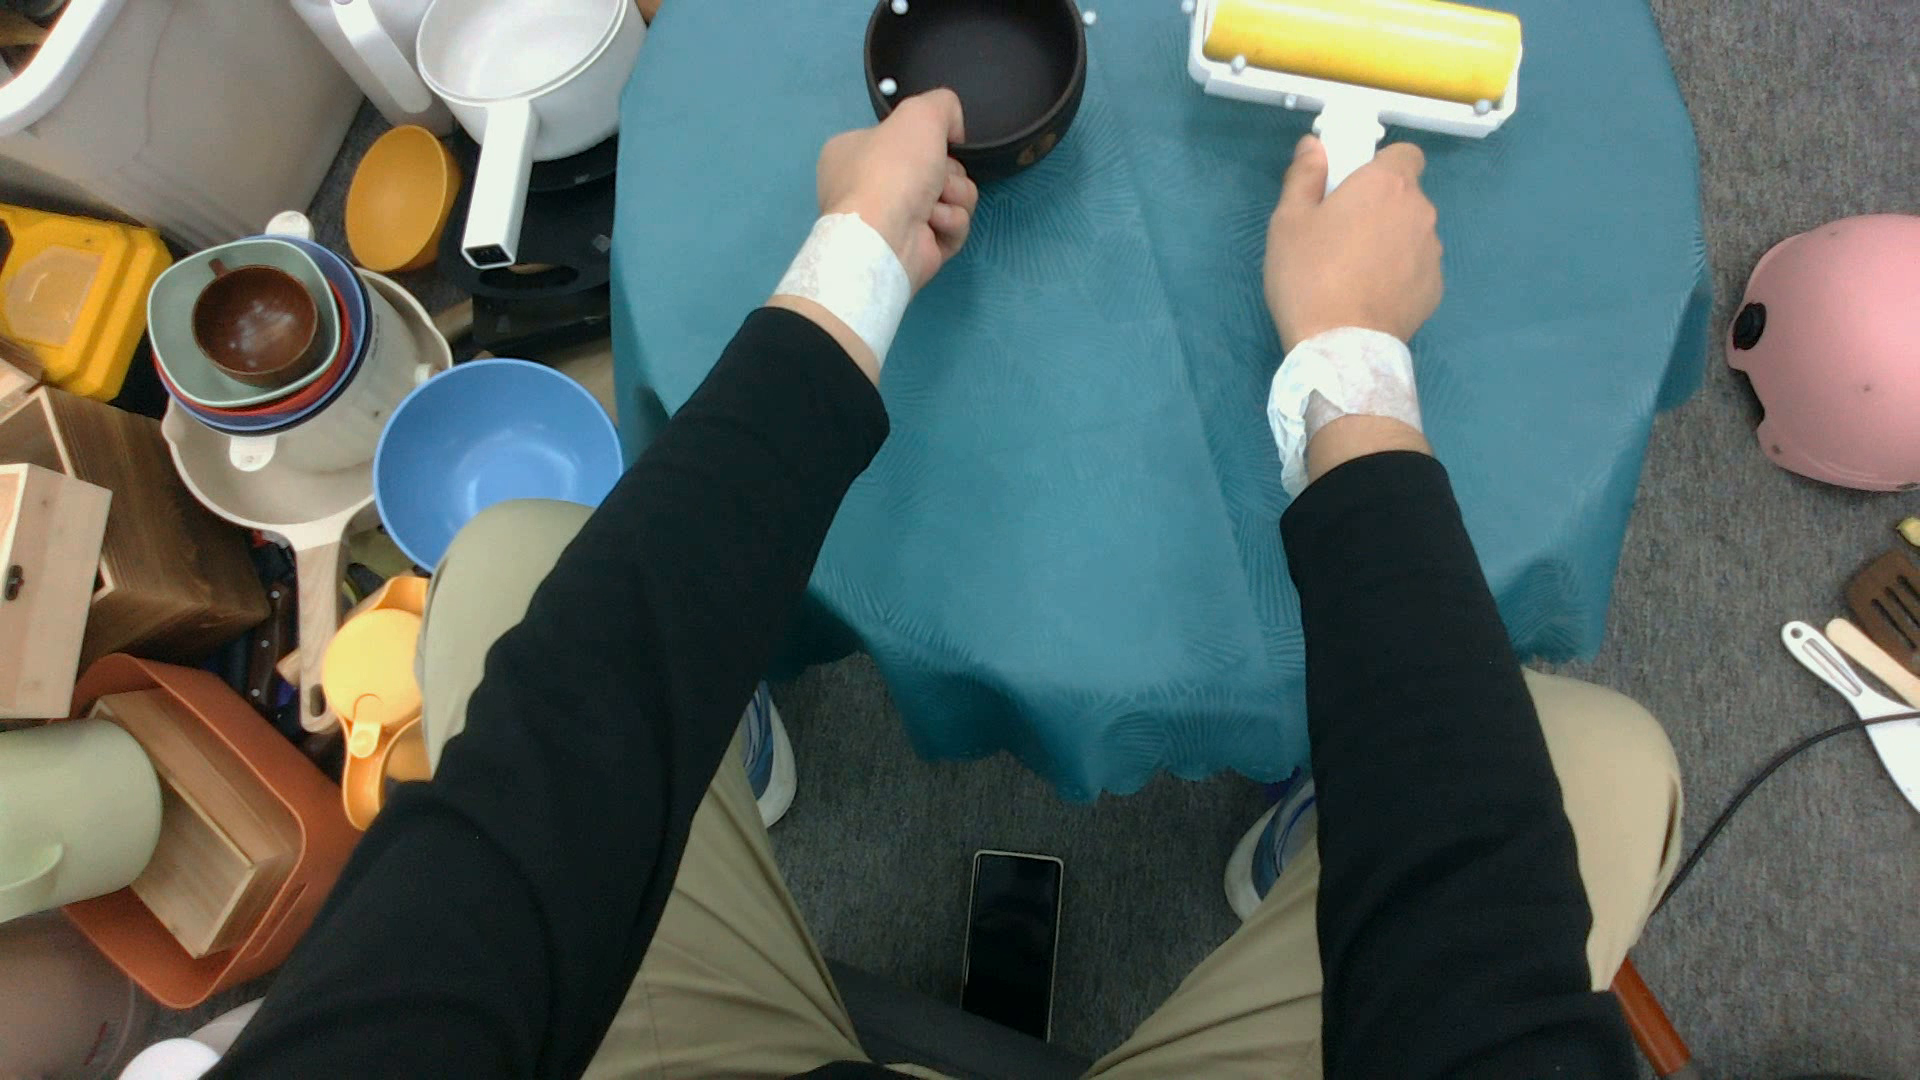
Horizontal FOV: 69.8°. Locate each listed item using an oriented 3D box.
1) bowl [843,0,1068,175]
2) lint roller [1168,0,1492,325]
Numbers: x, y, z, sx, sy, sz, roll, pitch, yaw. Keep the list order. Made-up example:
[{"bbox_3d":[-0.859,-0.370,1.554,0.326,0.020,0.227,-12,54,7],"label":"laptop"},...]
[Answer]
[{"bbox_3d":[-0.001,-0.251,0.744,0.118,0.070,0.118,-1,77,3],"label":"bowl"},{"bbox_3d":[0.195,-0.205,0.717,0.174,0.051,0.193,6,64,-3],"label":"lint roller"}]
